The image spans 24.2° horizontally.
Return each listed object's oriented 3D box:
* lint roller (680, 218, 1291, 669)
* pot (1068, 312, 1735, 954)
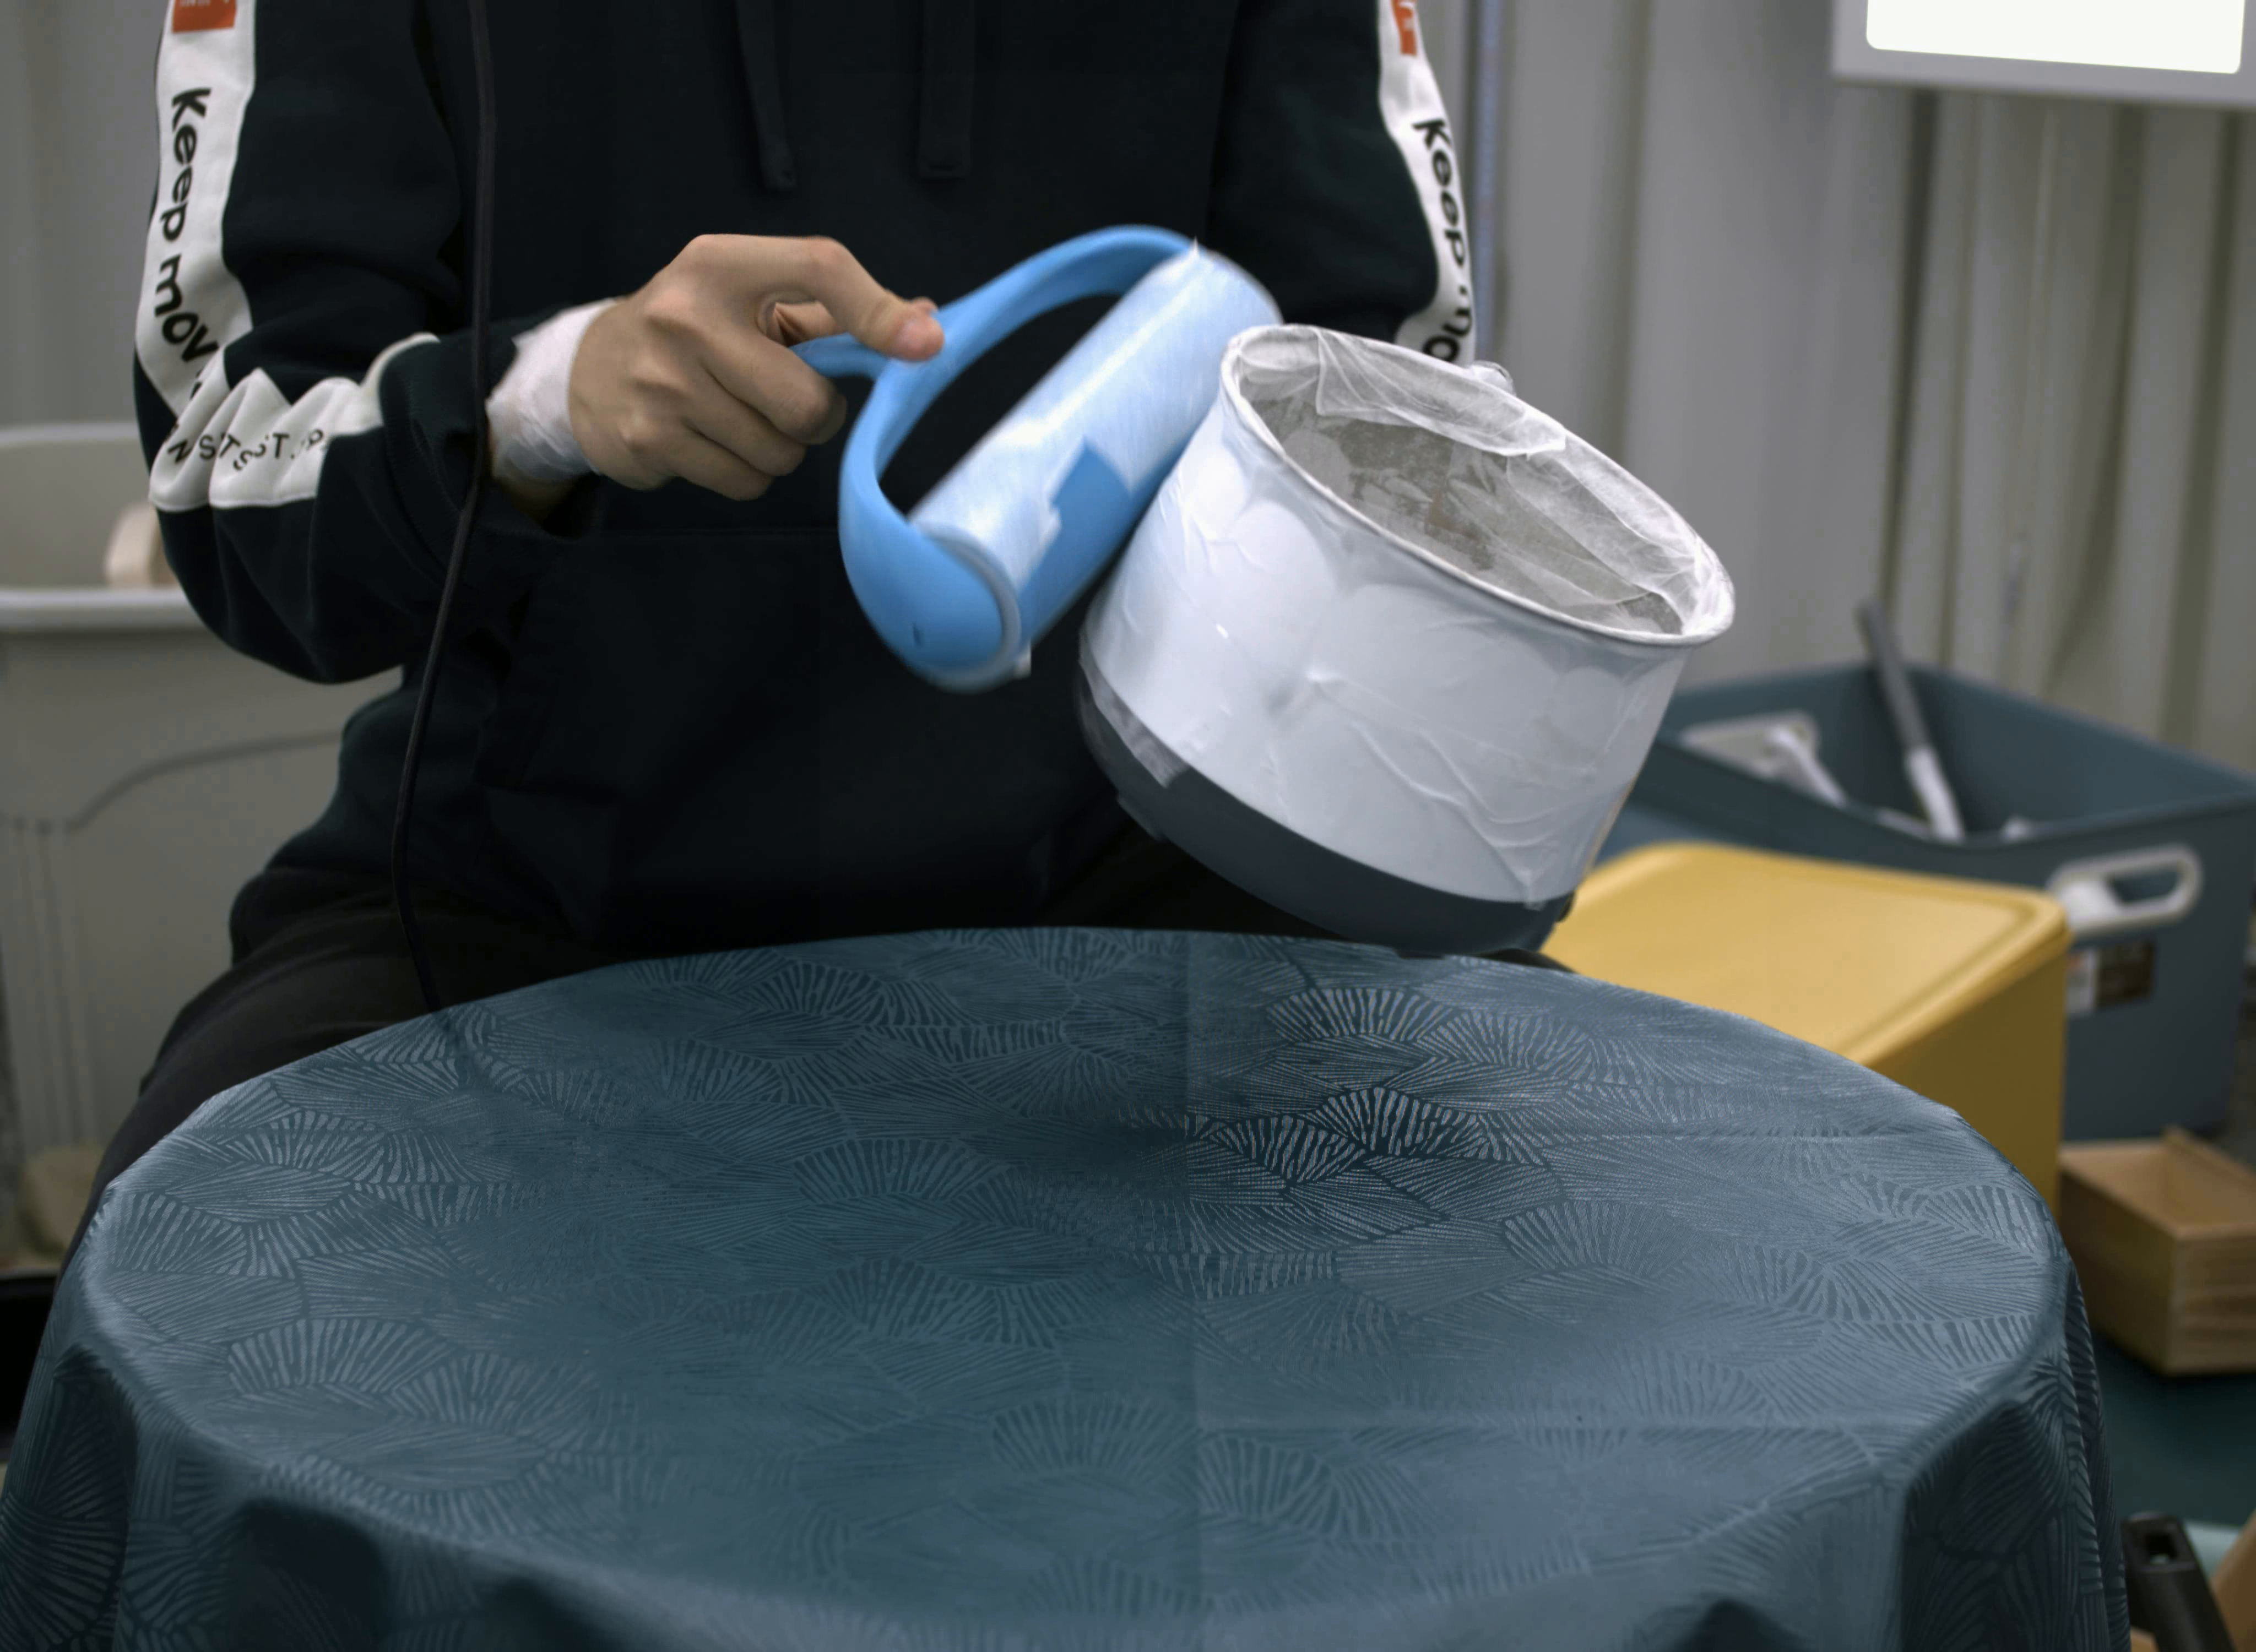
[{"bbox_3d":[-0.065,-0.126,1.657,0.178,0.069,0.228,8,35,20],"label":"lint roller"},{"bbox_3d":[0.082,-0.068,1.652,0.179,0.137,0.232,26,24,-6],"label":"pot"}]
